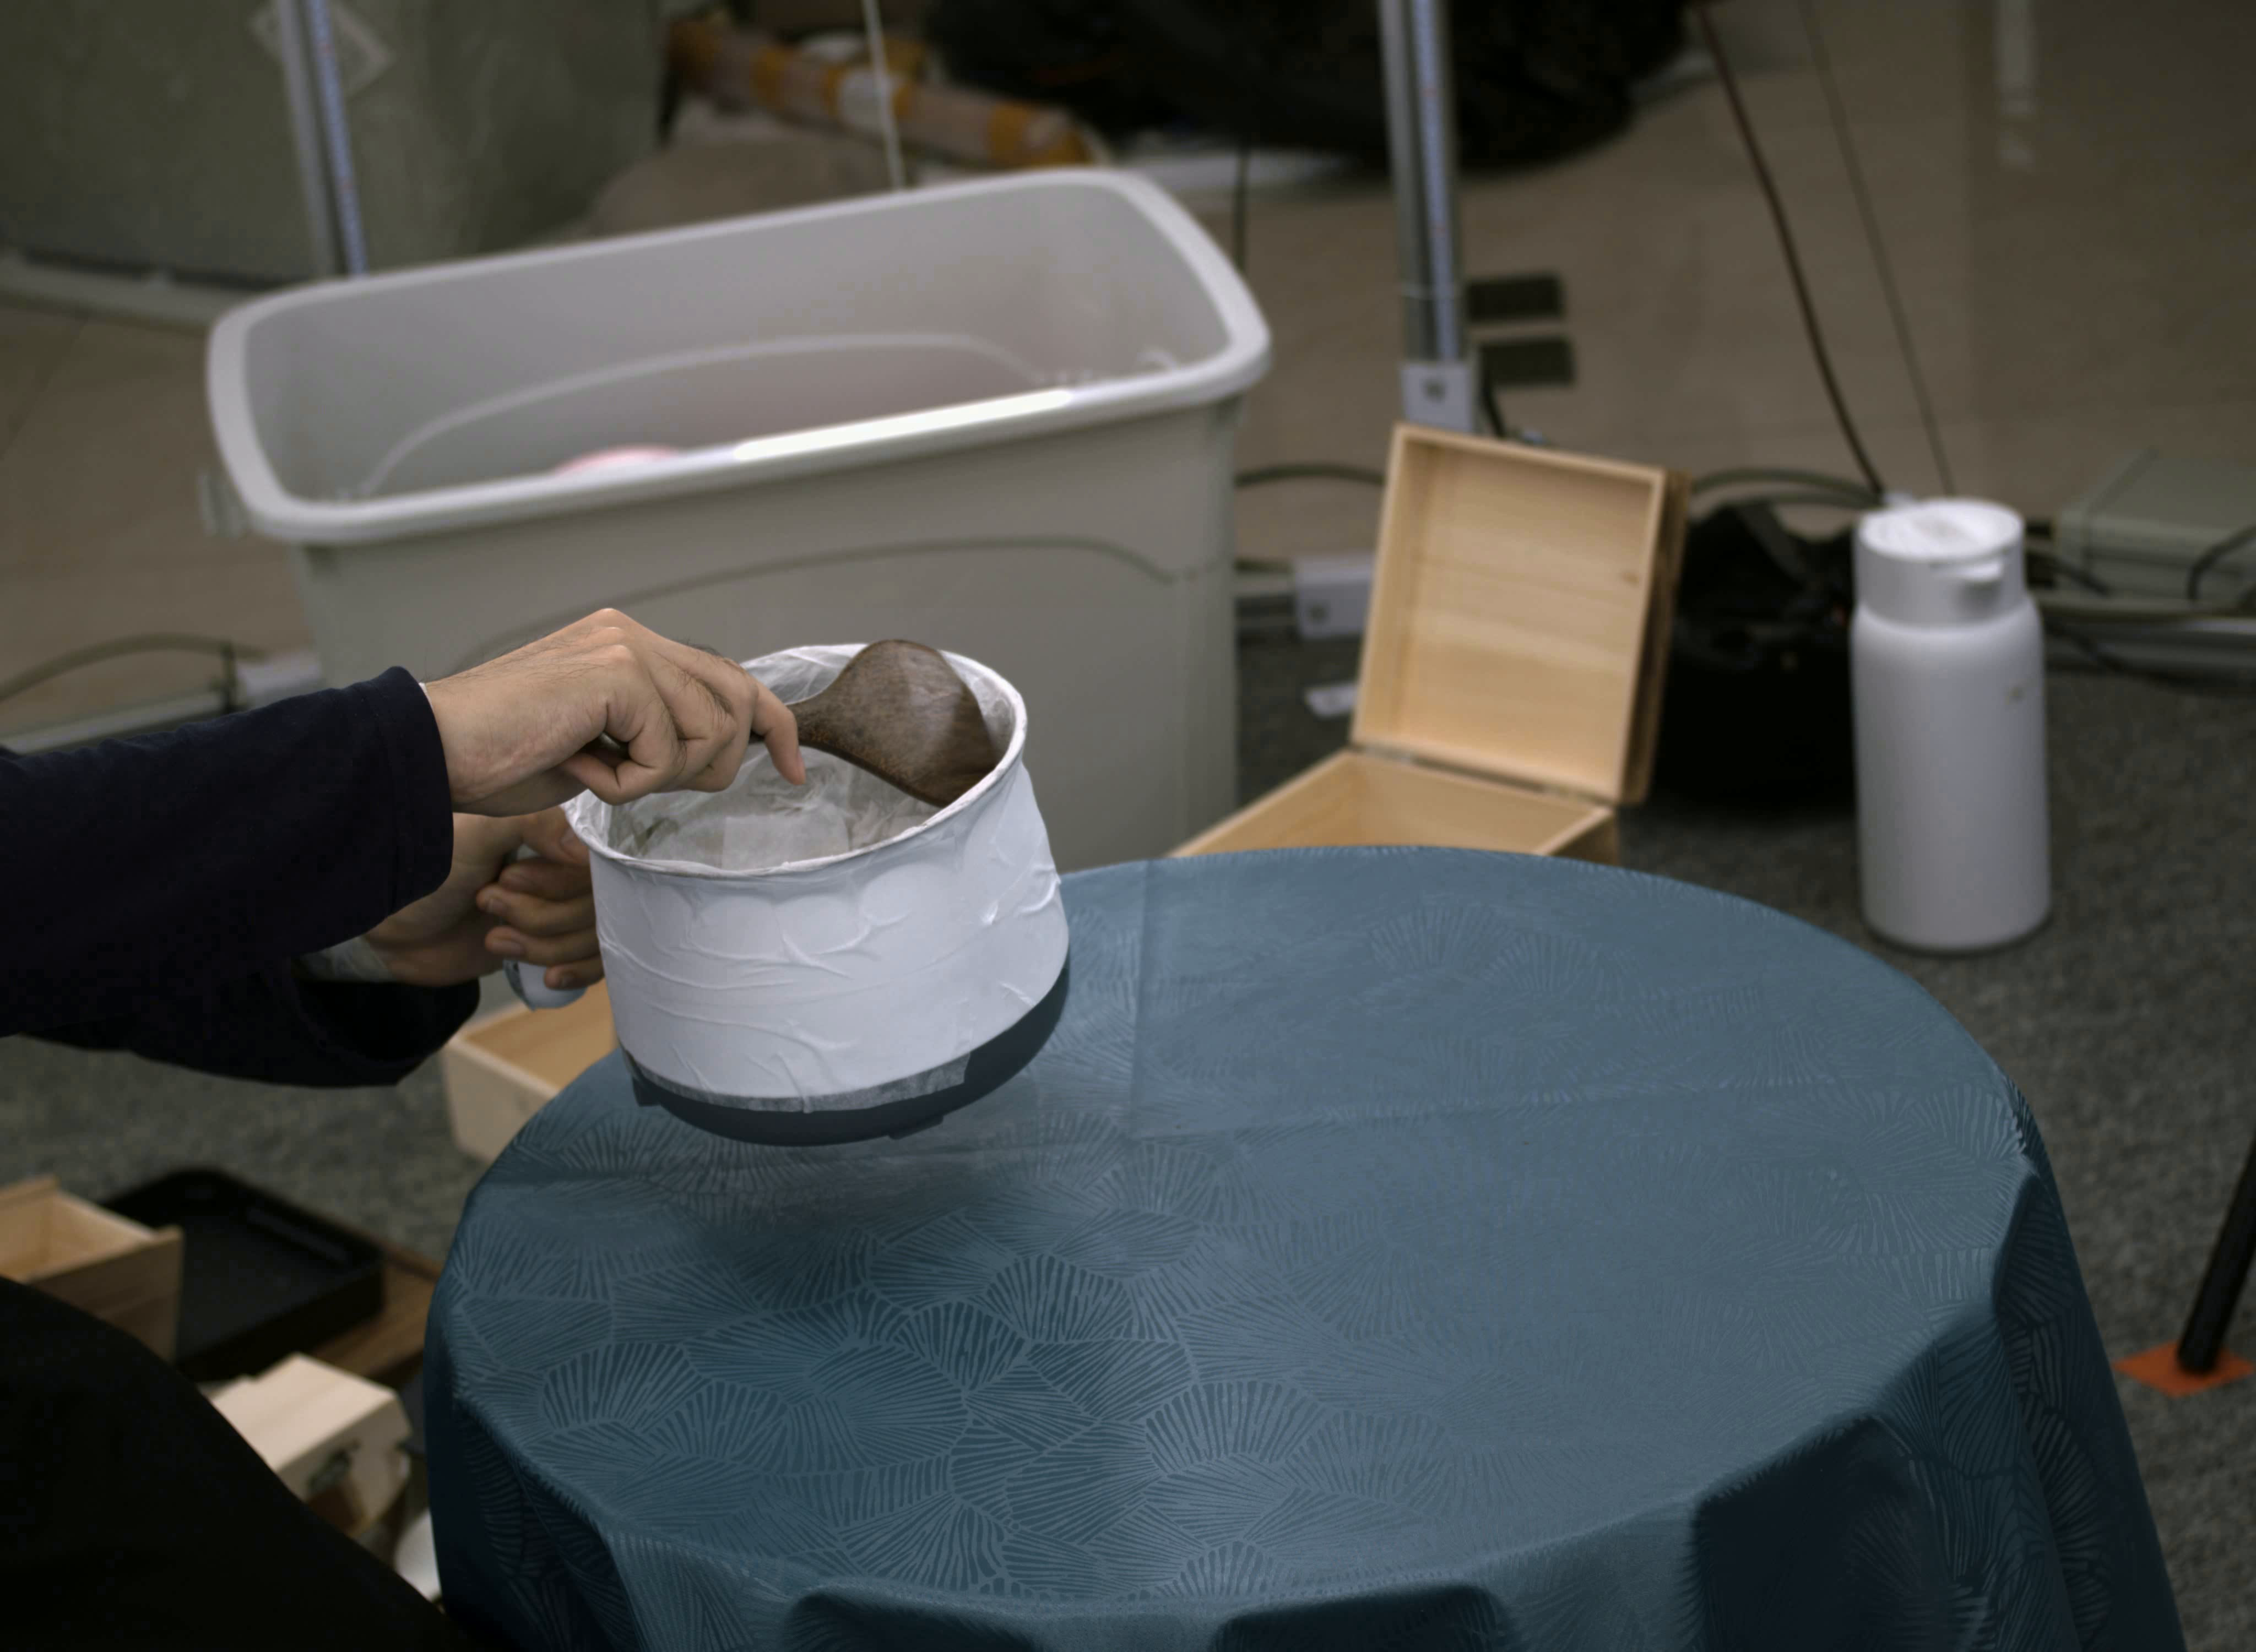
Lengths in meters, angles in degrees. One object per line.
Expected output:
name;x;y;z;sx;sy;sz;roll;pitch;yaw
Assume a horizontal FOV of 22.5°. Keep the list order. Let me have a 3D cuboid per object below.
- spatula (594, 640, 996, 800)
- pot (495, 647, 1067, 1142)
spatula;-0.121;-0.037;2.069;0.009;0.071;0.215;-36;-21;34
pot;-0.140;0.026;2.160;0.233;0.139;0.176;4;30;22
